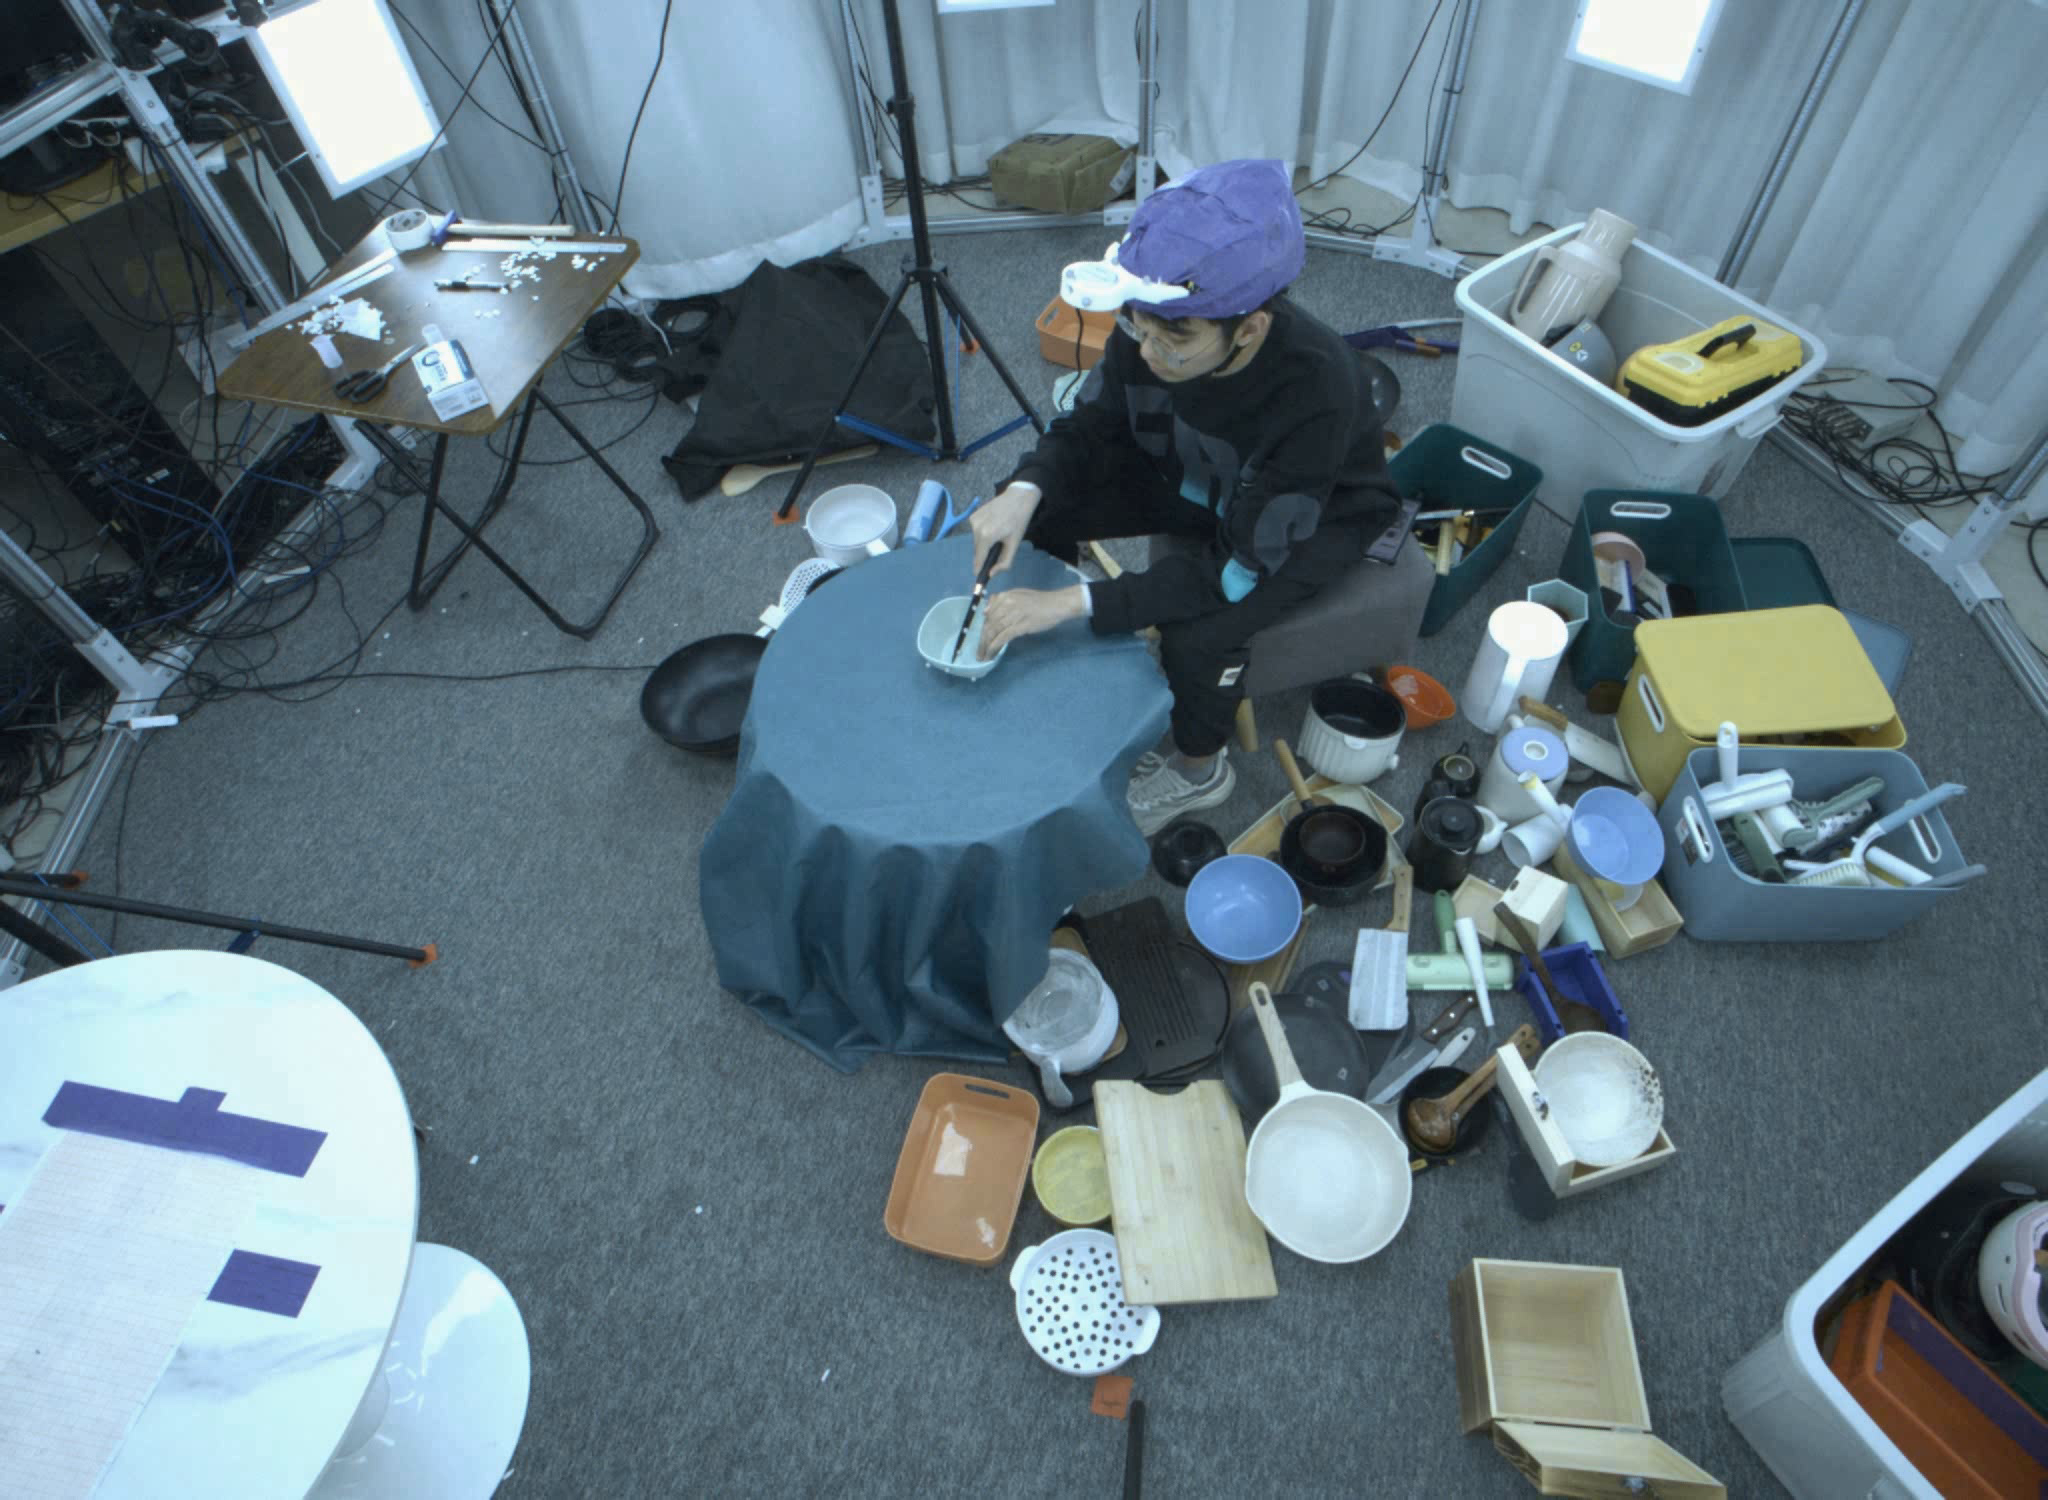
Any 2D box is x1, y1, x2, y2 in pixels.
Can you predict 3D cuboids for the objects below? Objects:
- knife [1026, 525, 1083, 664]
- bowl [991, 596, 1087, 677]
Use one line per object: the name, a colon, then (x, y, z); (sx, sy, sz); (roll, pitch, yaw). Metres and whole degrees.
knife: (0.042, -0.234, 1.858); (0.017, 0.026, 0.225); (23, 93, 25)
bowl: (0.025, -0.163, 1.868); (0.151, 0.059, 0.150); (-1, 54, 3)
